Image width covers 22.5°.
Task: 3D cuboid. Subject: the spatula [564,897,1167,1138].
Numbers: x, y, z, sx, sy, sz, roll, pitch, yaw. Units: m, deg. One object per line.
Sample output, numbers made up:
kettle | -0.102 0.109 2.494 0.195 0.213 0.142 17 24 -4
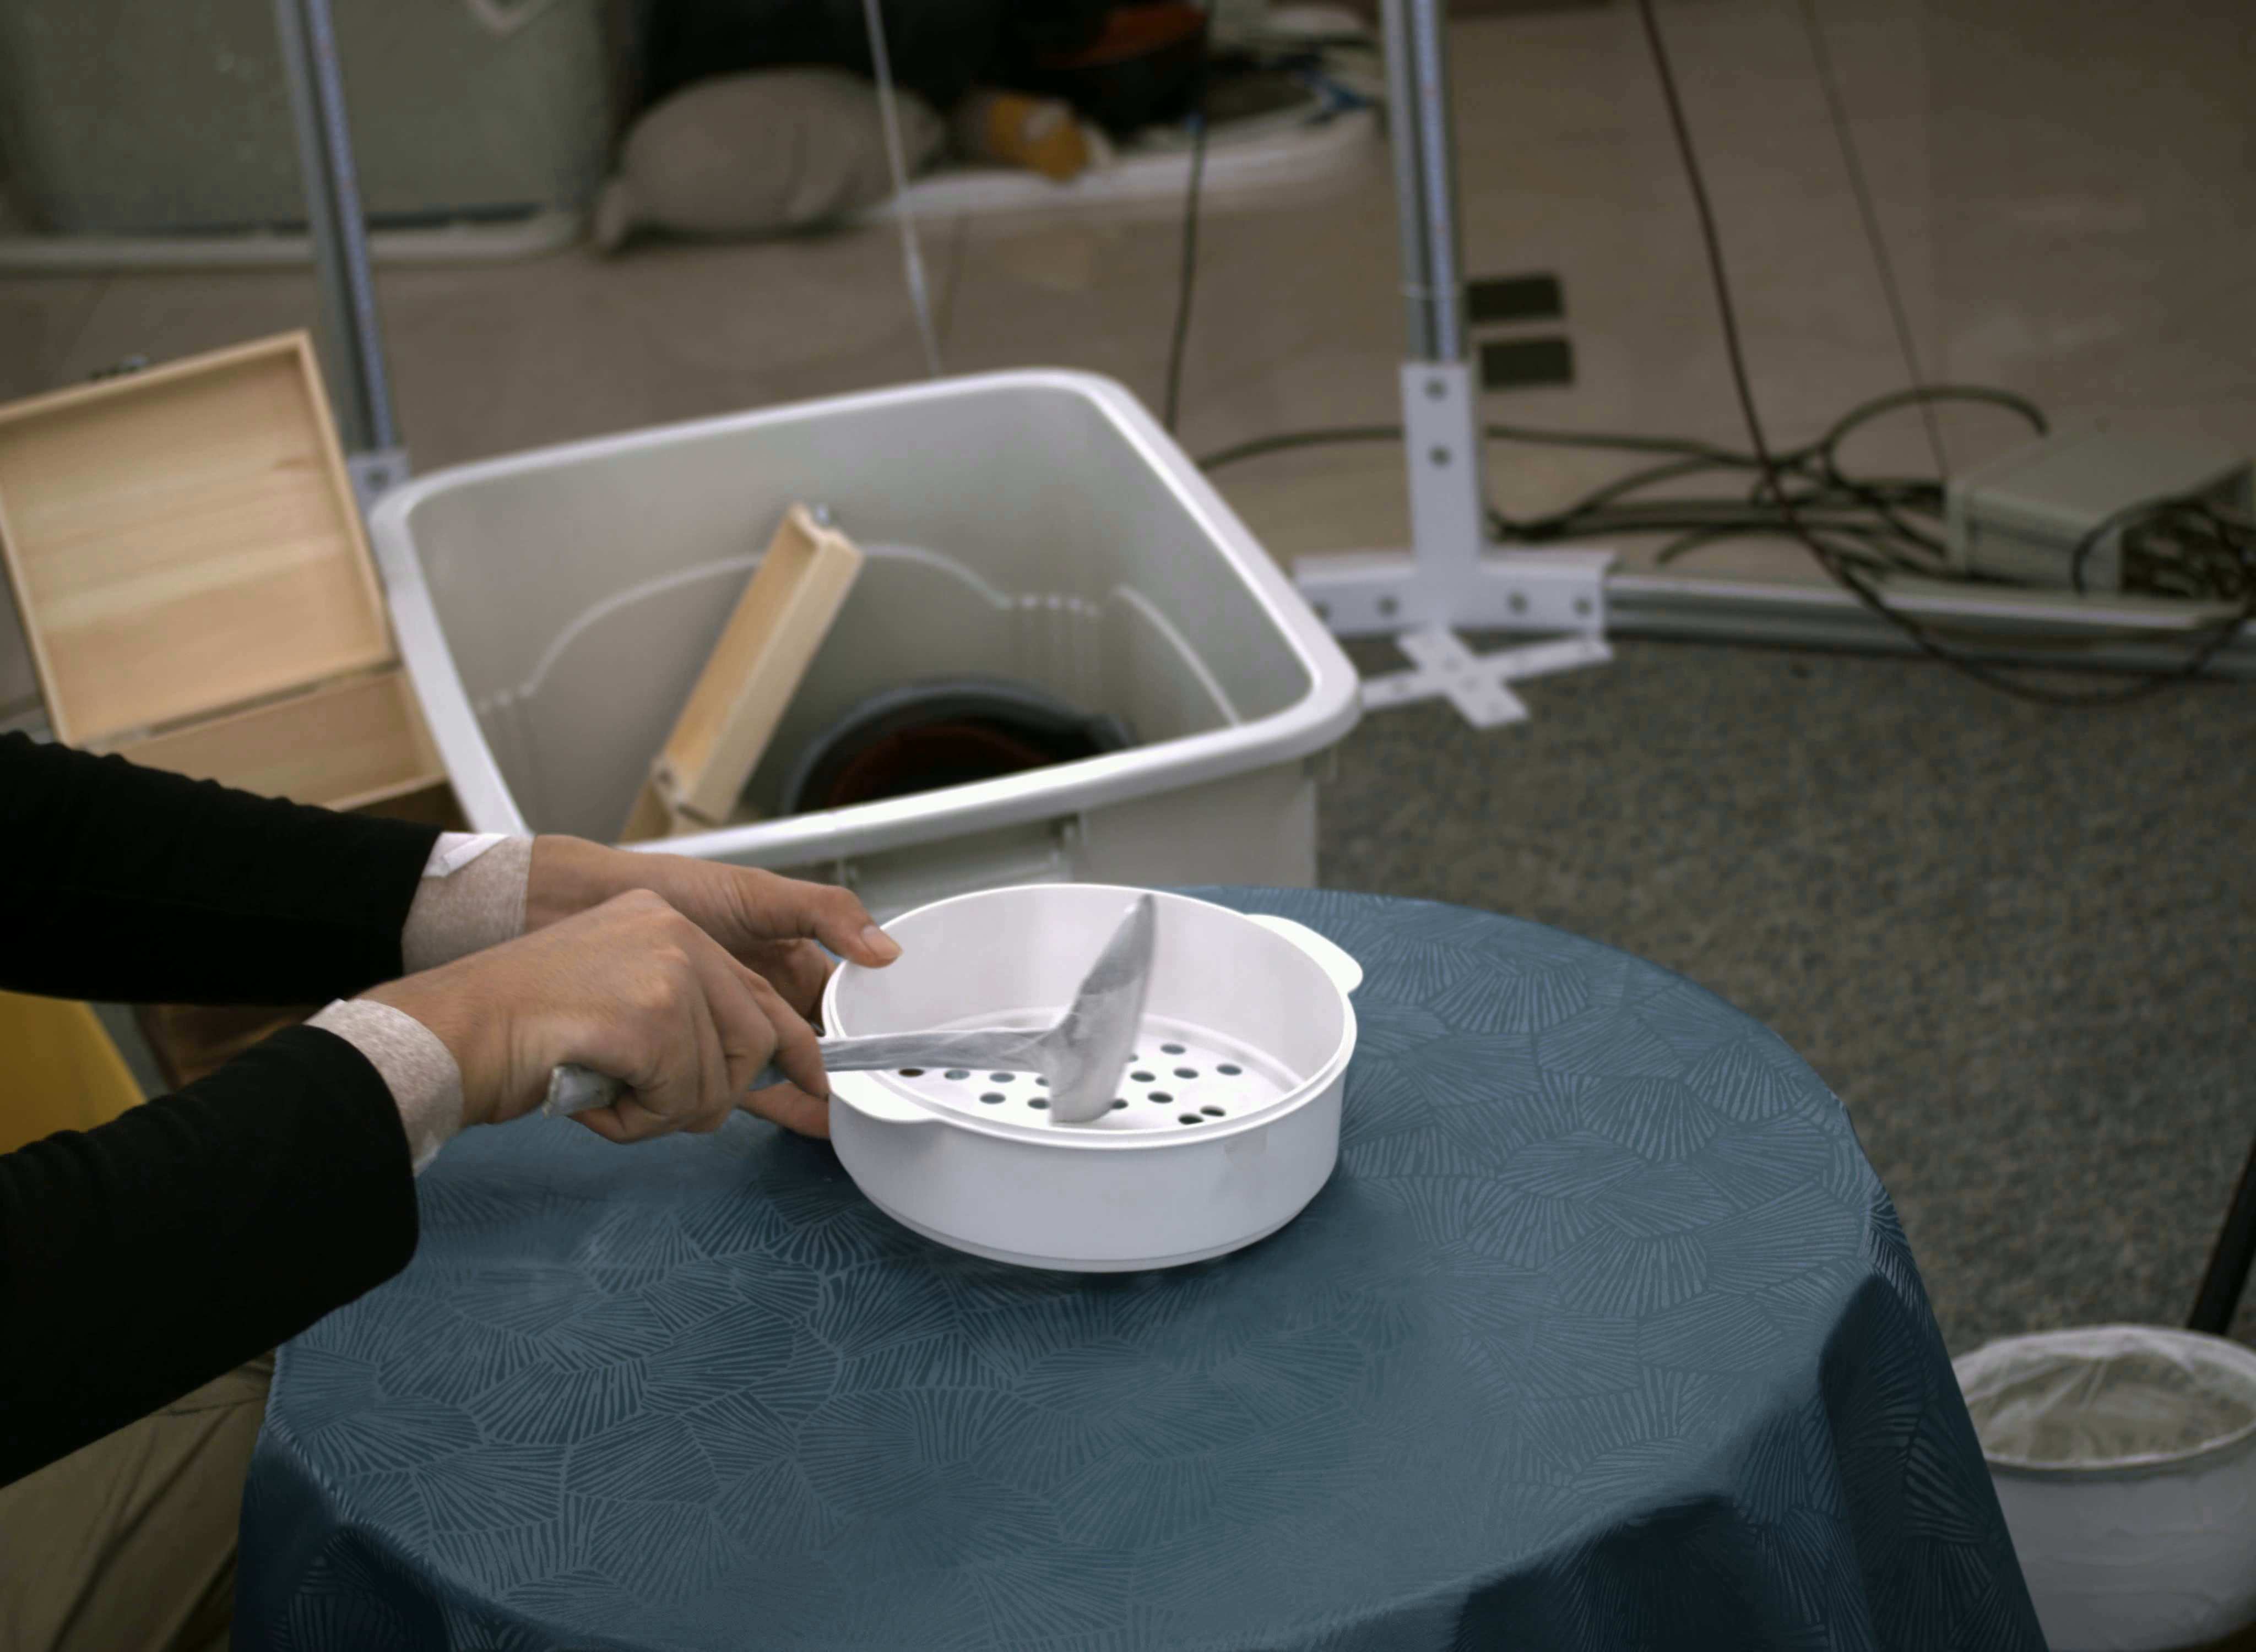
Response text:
spatula | -0.087 0.081 2.003 0.044 0.099 0.364 25 16 35

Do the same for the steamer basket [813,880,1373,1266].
steamer basket | -0.012 0.094 2.142 0.229 0.070 0.199 -16 32 -31
